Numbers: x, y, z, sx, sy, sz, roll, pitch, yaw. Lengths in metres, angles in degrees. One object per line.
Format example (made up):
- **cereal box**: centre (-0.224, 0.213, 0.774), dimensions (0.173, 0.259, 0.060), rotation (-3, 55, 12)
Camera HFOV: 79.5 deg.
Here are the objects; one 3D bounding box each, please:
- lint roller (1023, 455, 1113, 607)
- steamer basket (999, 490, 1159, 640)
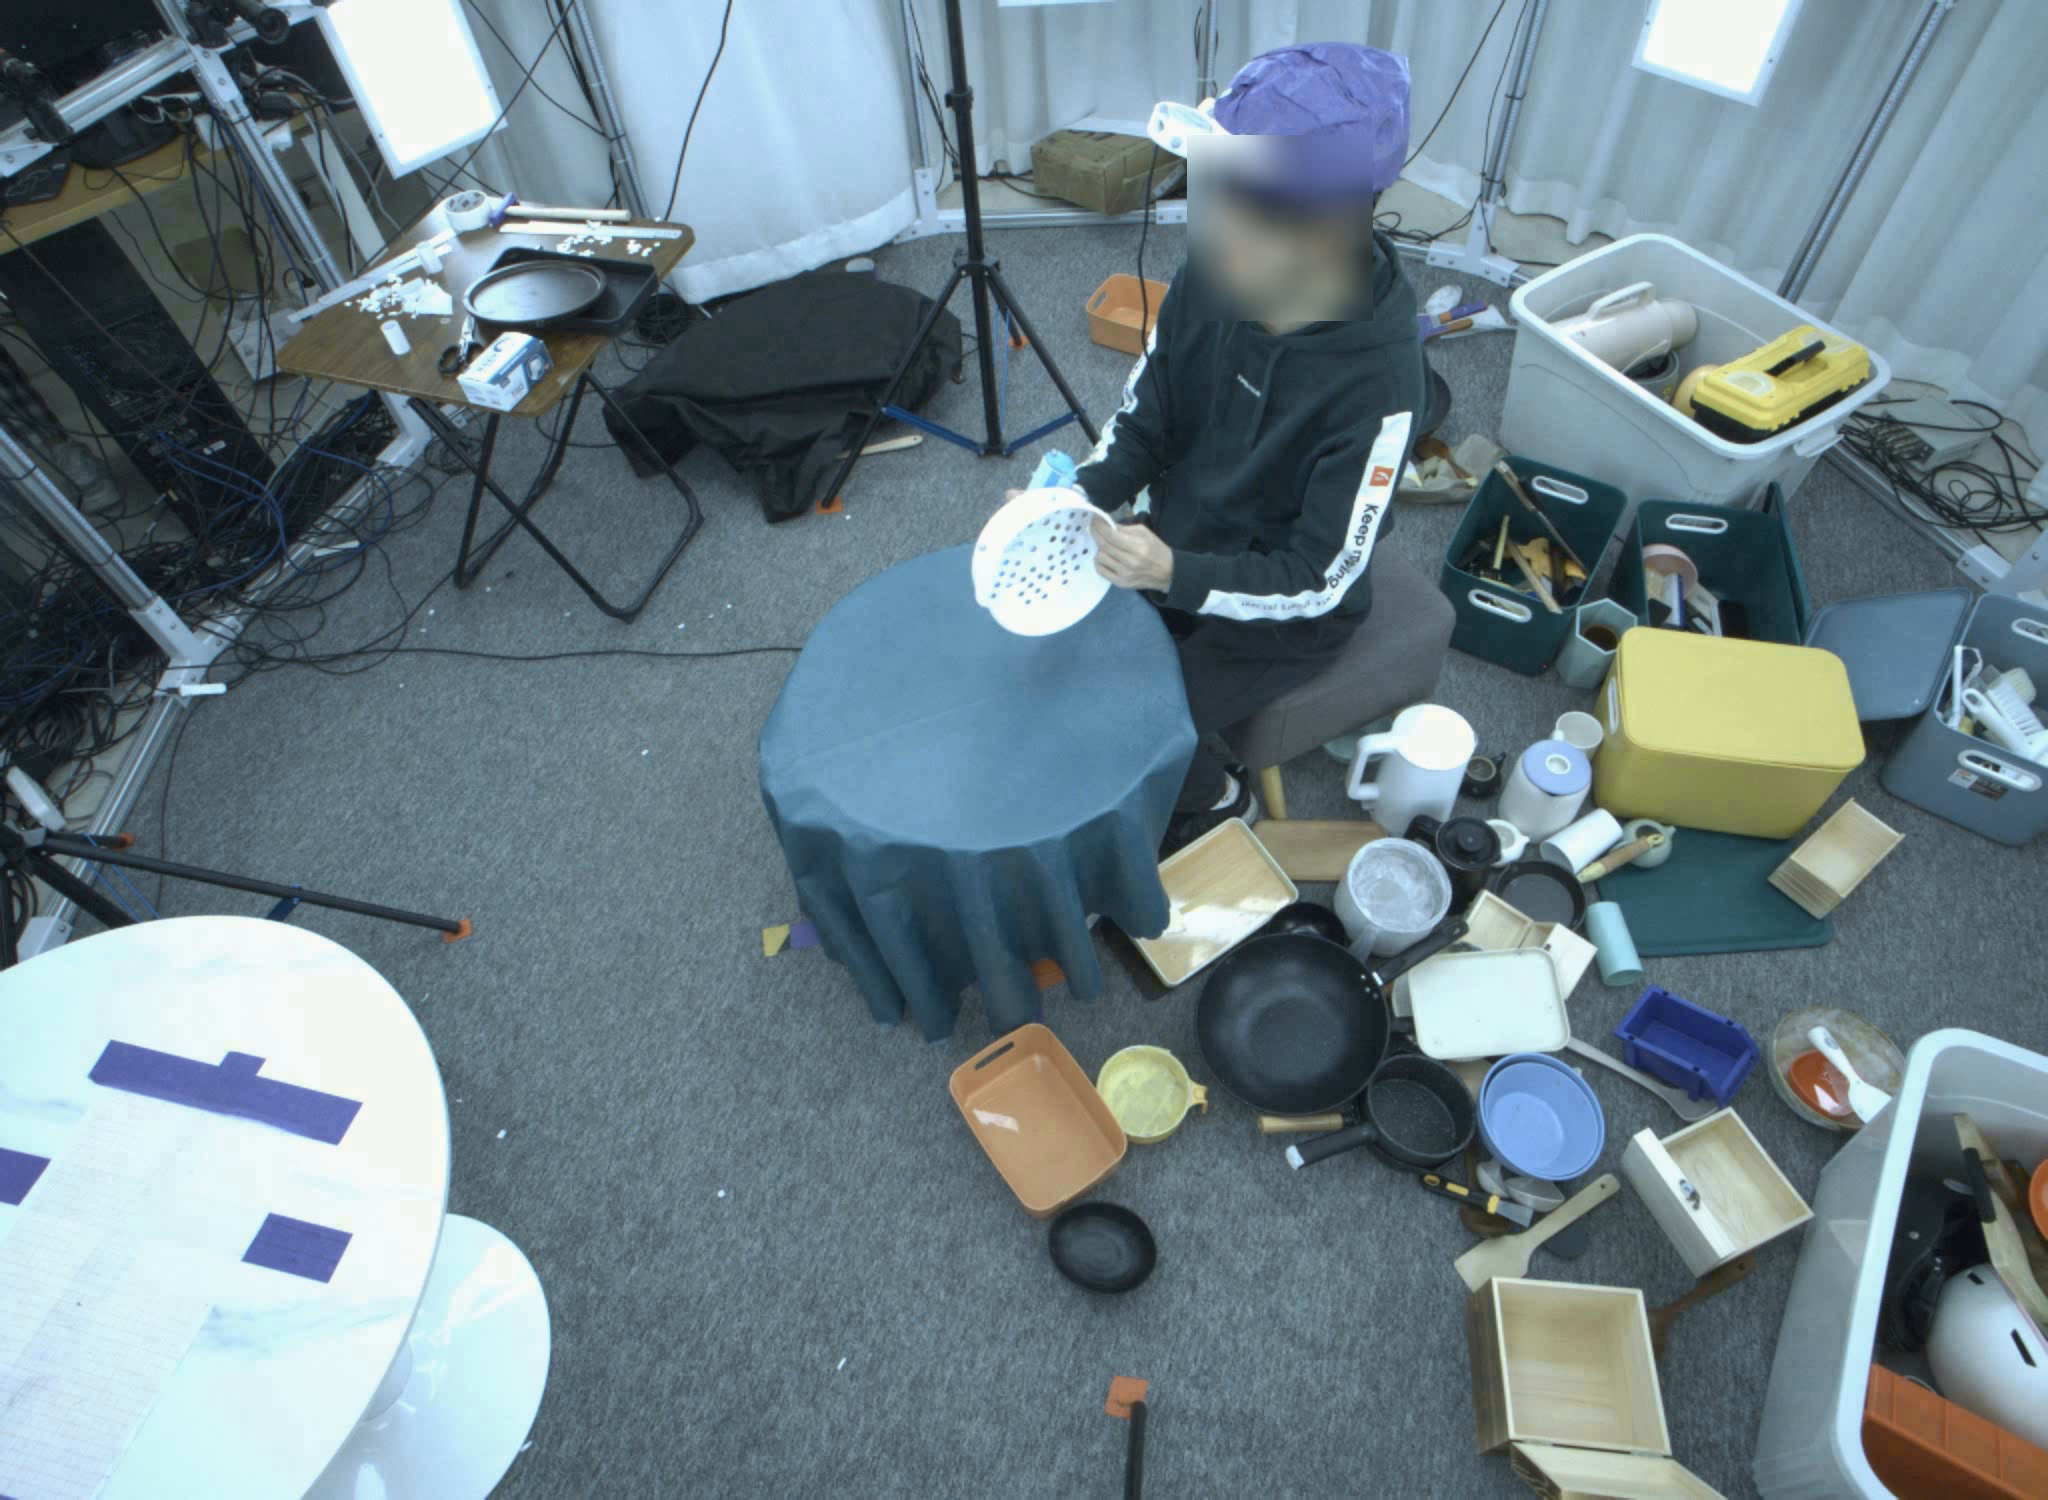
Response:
- **lint roller**: centre (0.069, -0.306, 1.700), dimensions (0.067, 0.228, 0.182), rotation (33, 22, 10)
- **steamer basket**: centre (0.065, -0.244, 1.617), dimensions (0.234, 0.203, 0.068), rotation (-14, 47, -25)
